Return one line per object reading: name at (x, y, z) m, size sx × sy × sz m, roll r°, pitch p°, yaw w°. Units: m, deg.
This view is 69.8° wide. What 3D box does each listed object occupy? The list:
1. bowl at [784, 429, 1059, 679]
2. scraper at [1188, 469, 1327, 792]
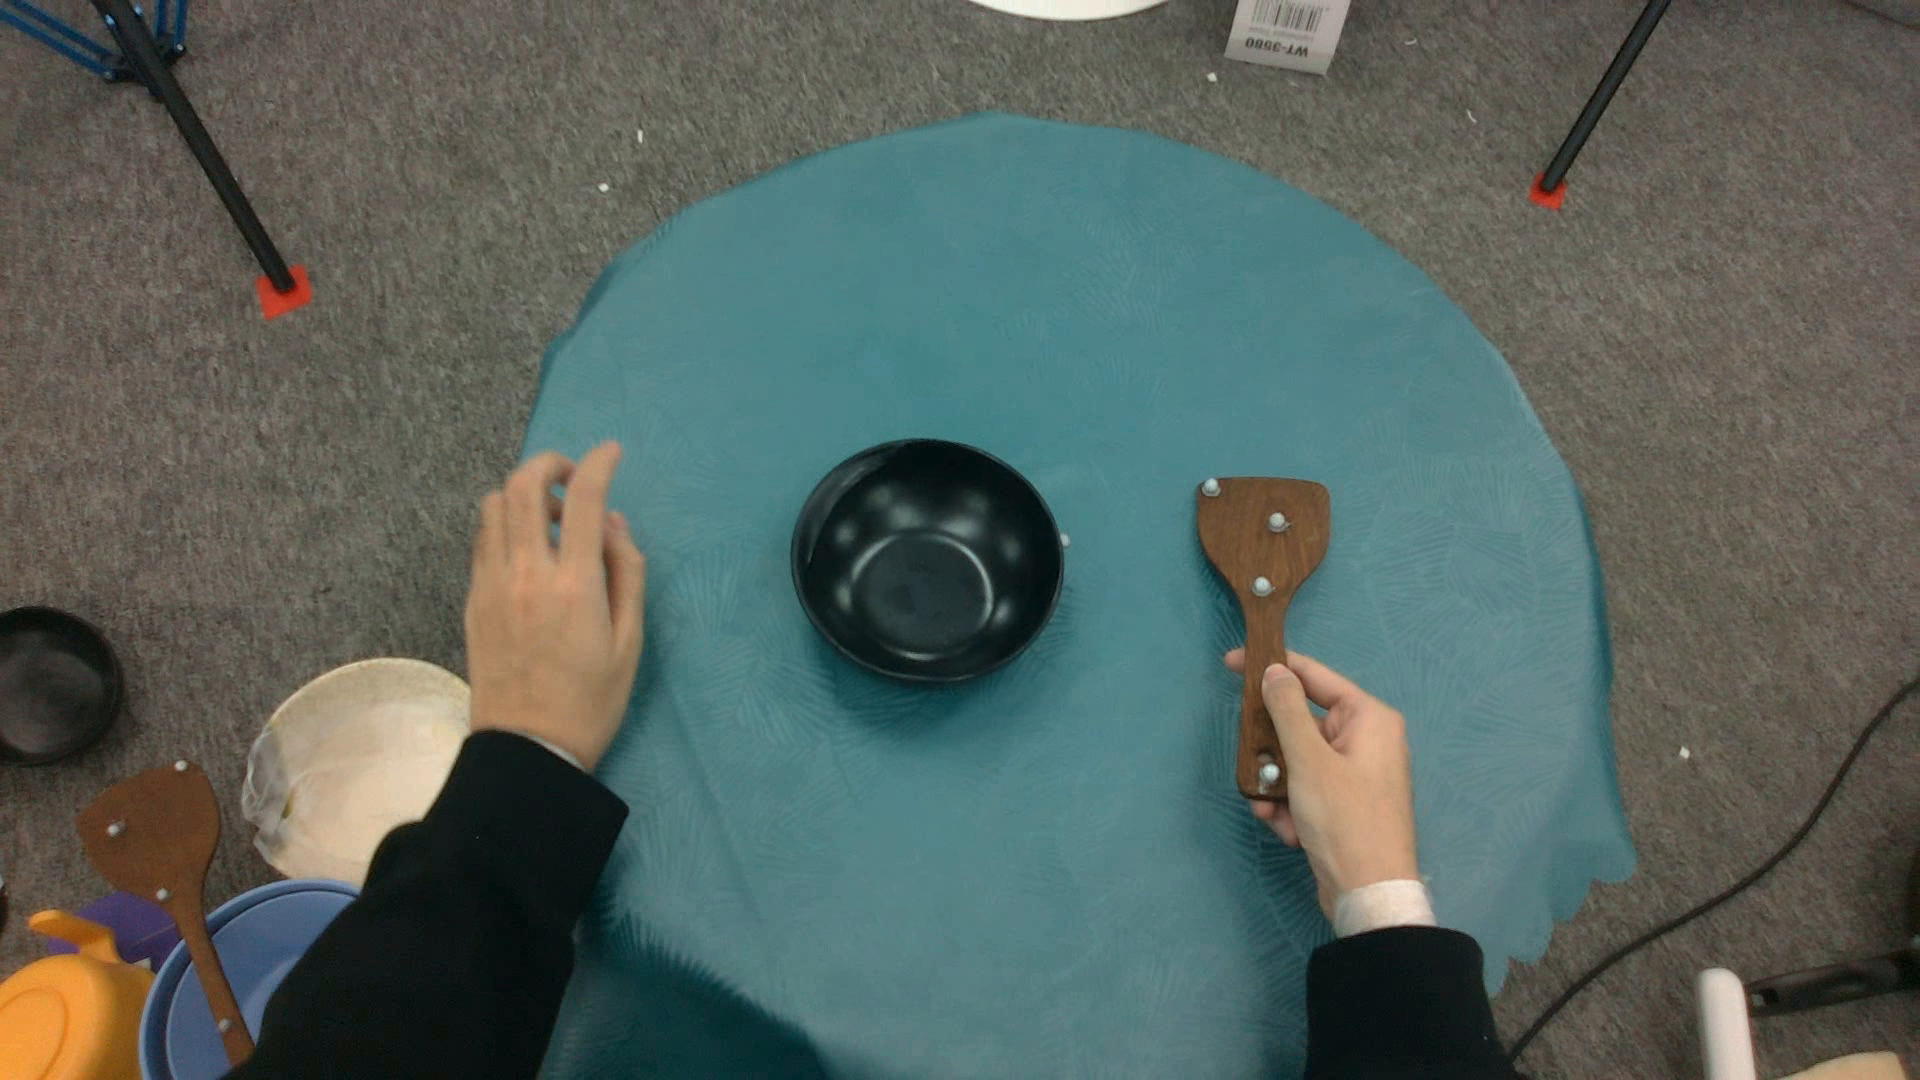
bowl at (-0.022, 0.013, 0.709) m, size 0.140 × 0.049 × 0.140 m, roll 4°, pitch 61°, yaw -7°
scraper at (0.153, 0.039, 0.708) m, size 0.076 × 0.011 × 0.212 m, roll 3°, pitch 47°, yaw 8°
